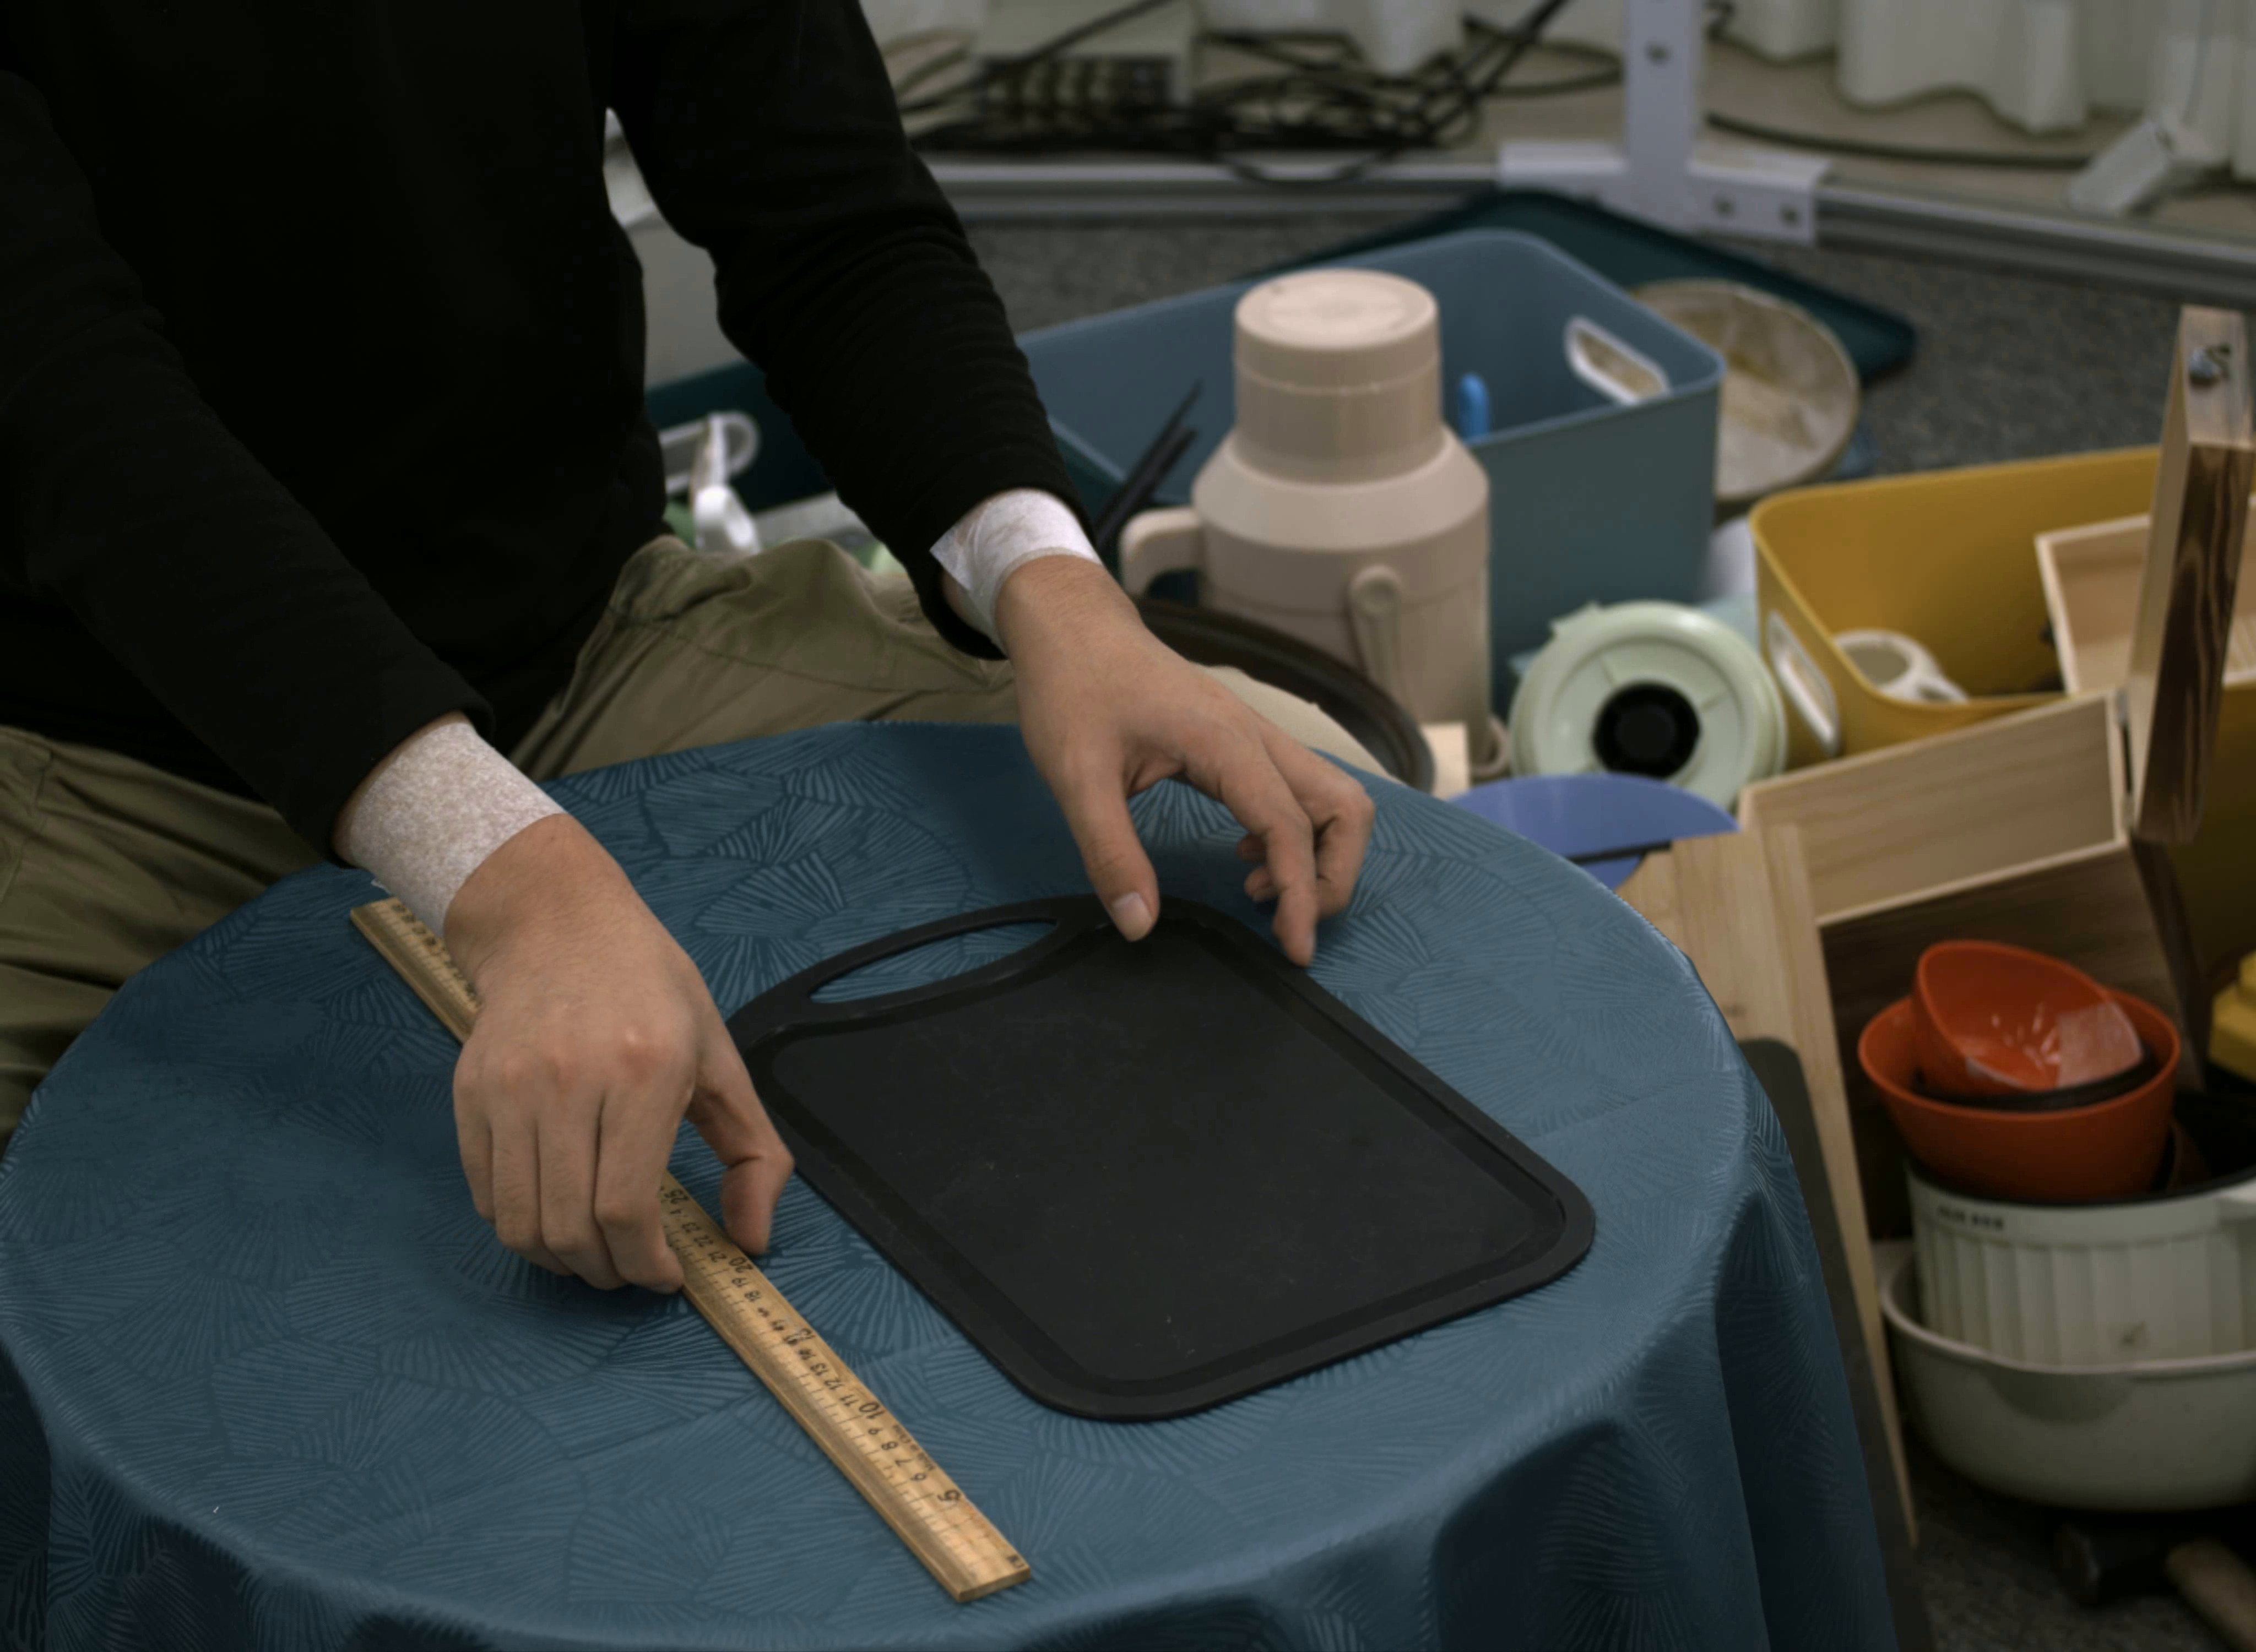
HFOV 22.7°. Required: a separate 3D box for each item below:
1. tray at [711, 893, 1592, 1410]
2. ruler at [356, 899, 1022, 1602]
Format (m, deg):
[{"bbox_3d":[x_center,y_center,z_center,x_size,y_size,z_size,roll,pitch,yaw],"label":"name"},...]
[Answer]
[{"bbox_3d":[-0.002,0.100,1.895,0.212,0.009,0.327,-16,30,-24],"label":"tray"},{"bbox_3d":[-0.156,0.128,1.859,0.027,0.006,0.503,-14,29,-24],"label":"ruler"}]
